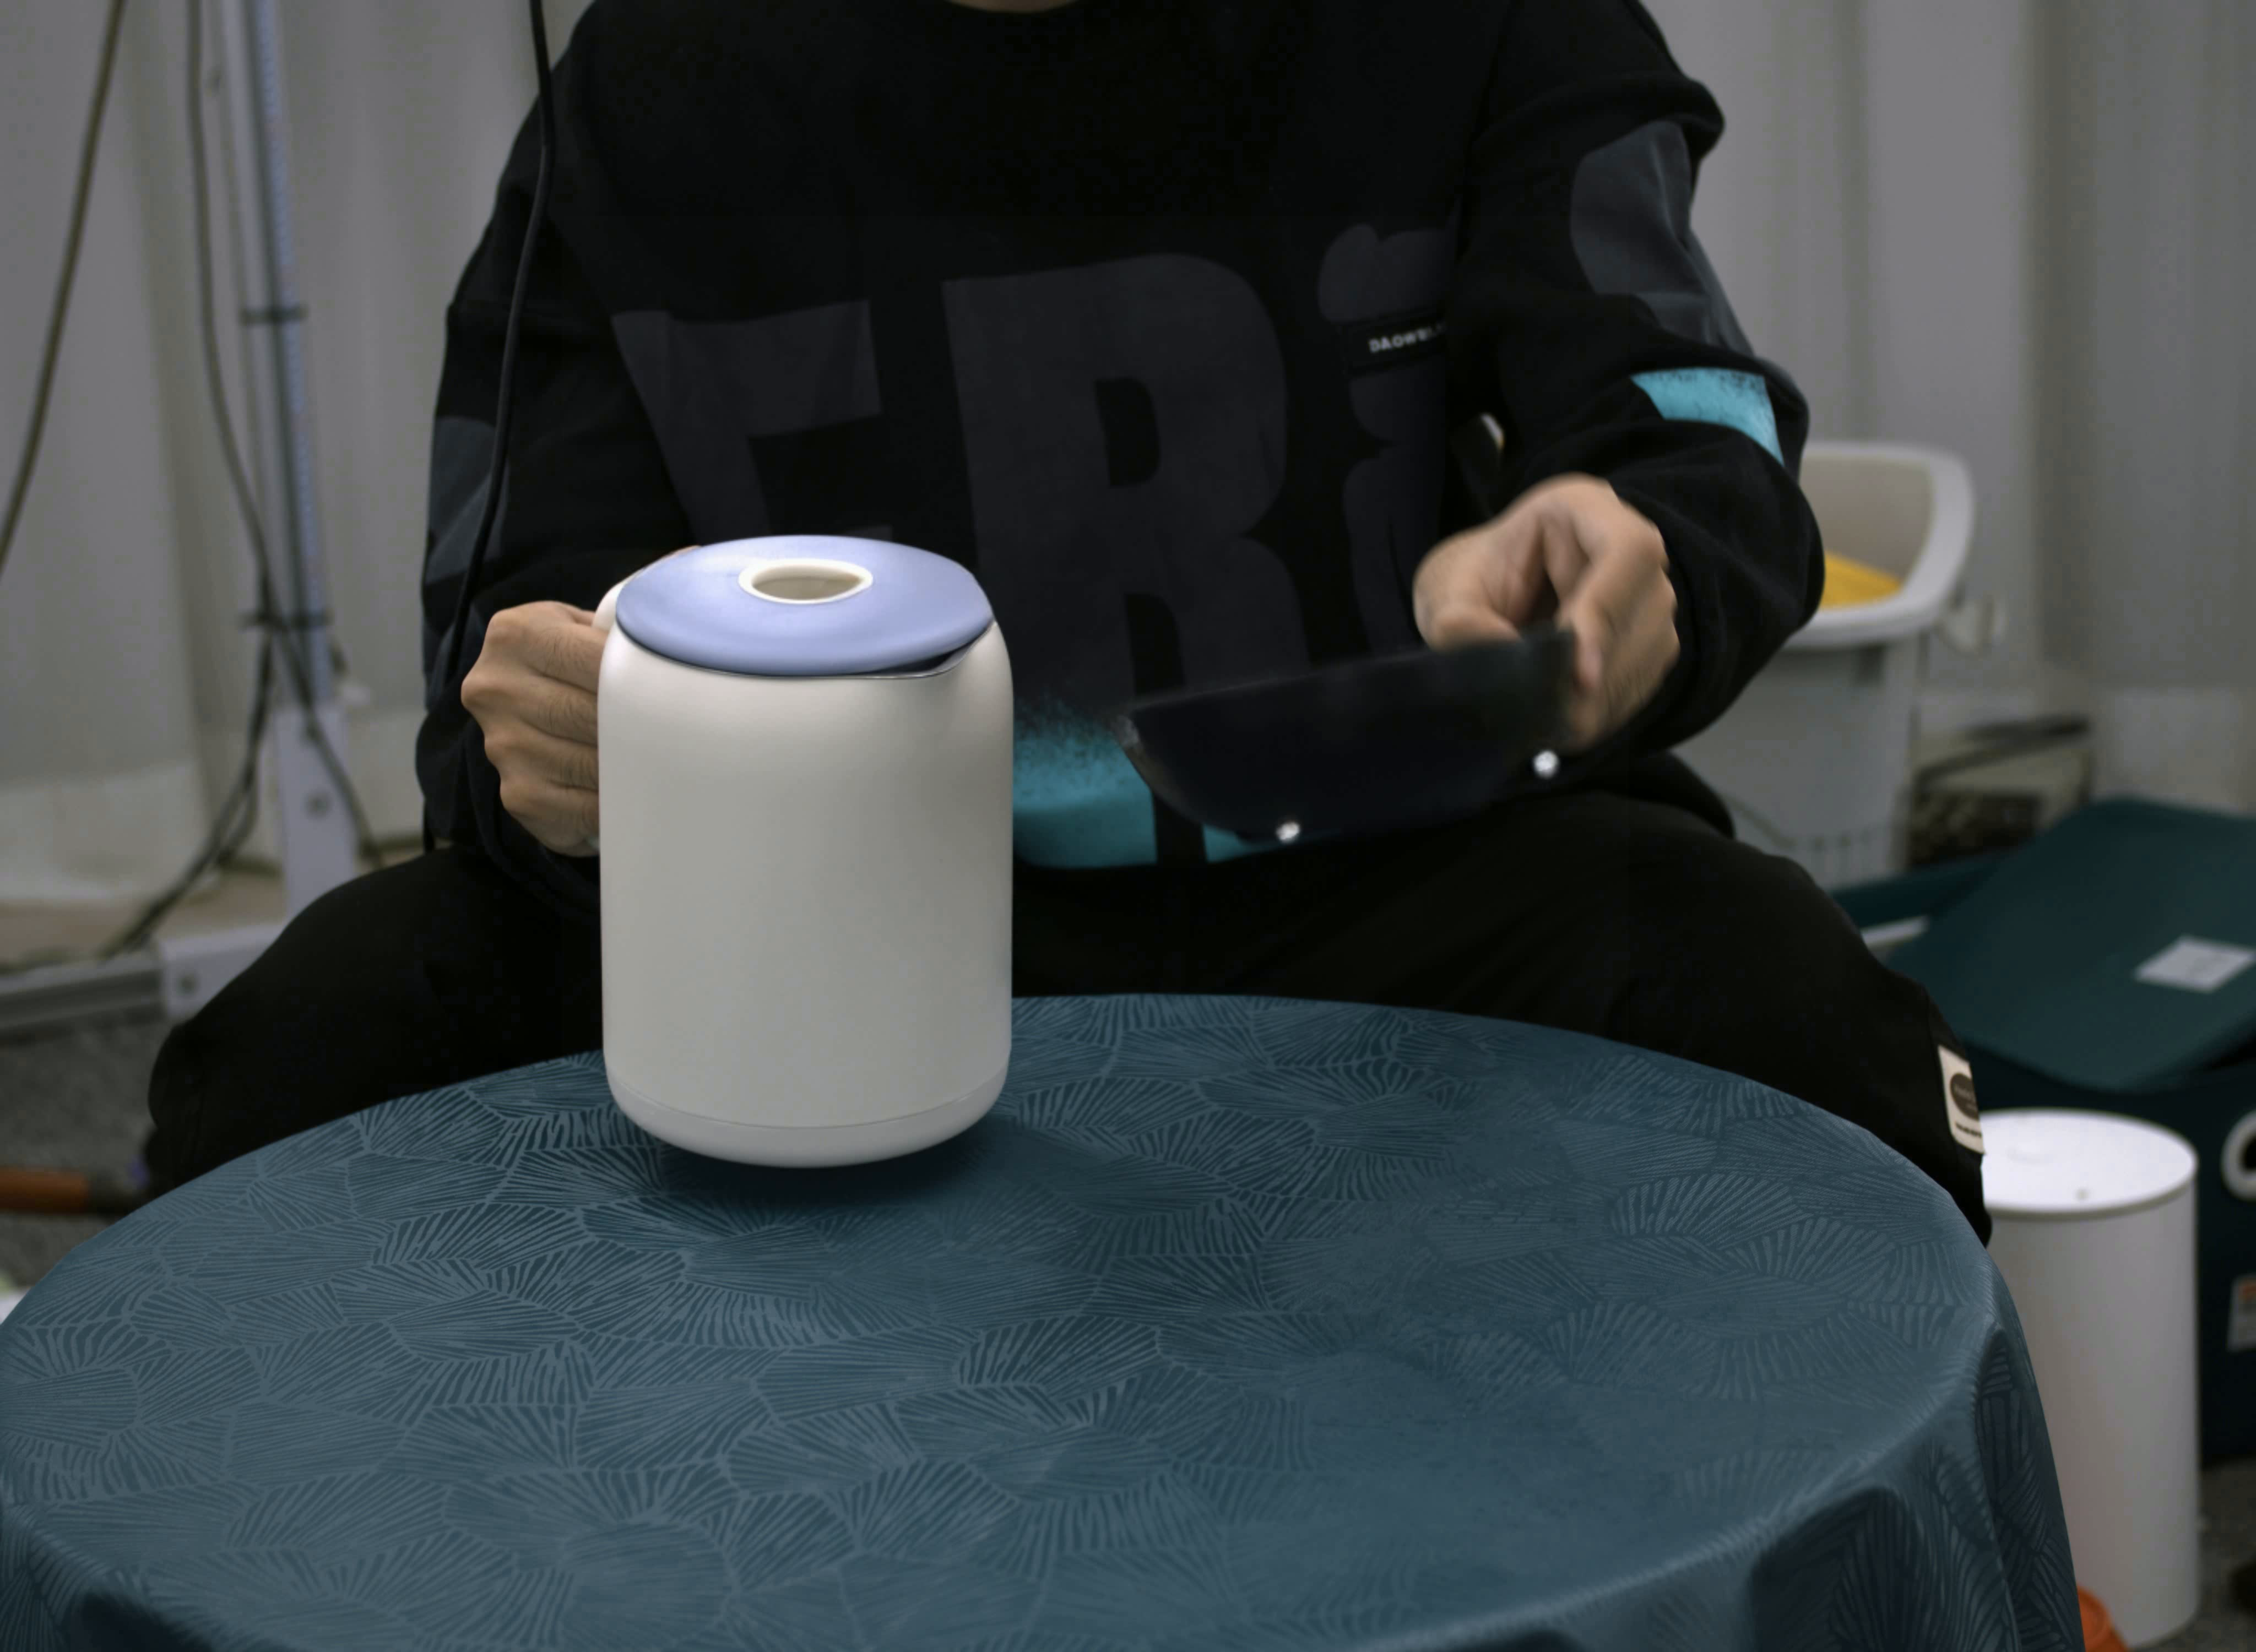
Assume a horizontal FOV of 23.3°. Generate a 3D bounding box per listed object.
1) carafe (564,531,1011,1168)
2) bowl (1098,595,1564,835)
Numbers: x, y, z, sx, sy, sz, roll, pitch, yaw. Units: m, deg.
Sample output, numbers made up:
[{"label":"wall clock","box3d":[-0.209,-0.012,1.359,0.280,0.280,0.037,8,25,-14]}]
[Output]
[{"label":"carafe","box3d":[-0.118,0.000,1.750,0.132,0.181,0.192,-15,23,-39]},{"label":"bowl","box3d":[0.063,-0.029,1.596,0.139,0.050,0.140,-11,-4,-1]}]
